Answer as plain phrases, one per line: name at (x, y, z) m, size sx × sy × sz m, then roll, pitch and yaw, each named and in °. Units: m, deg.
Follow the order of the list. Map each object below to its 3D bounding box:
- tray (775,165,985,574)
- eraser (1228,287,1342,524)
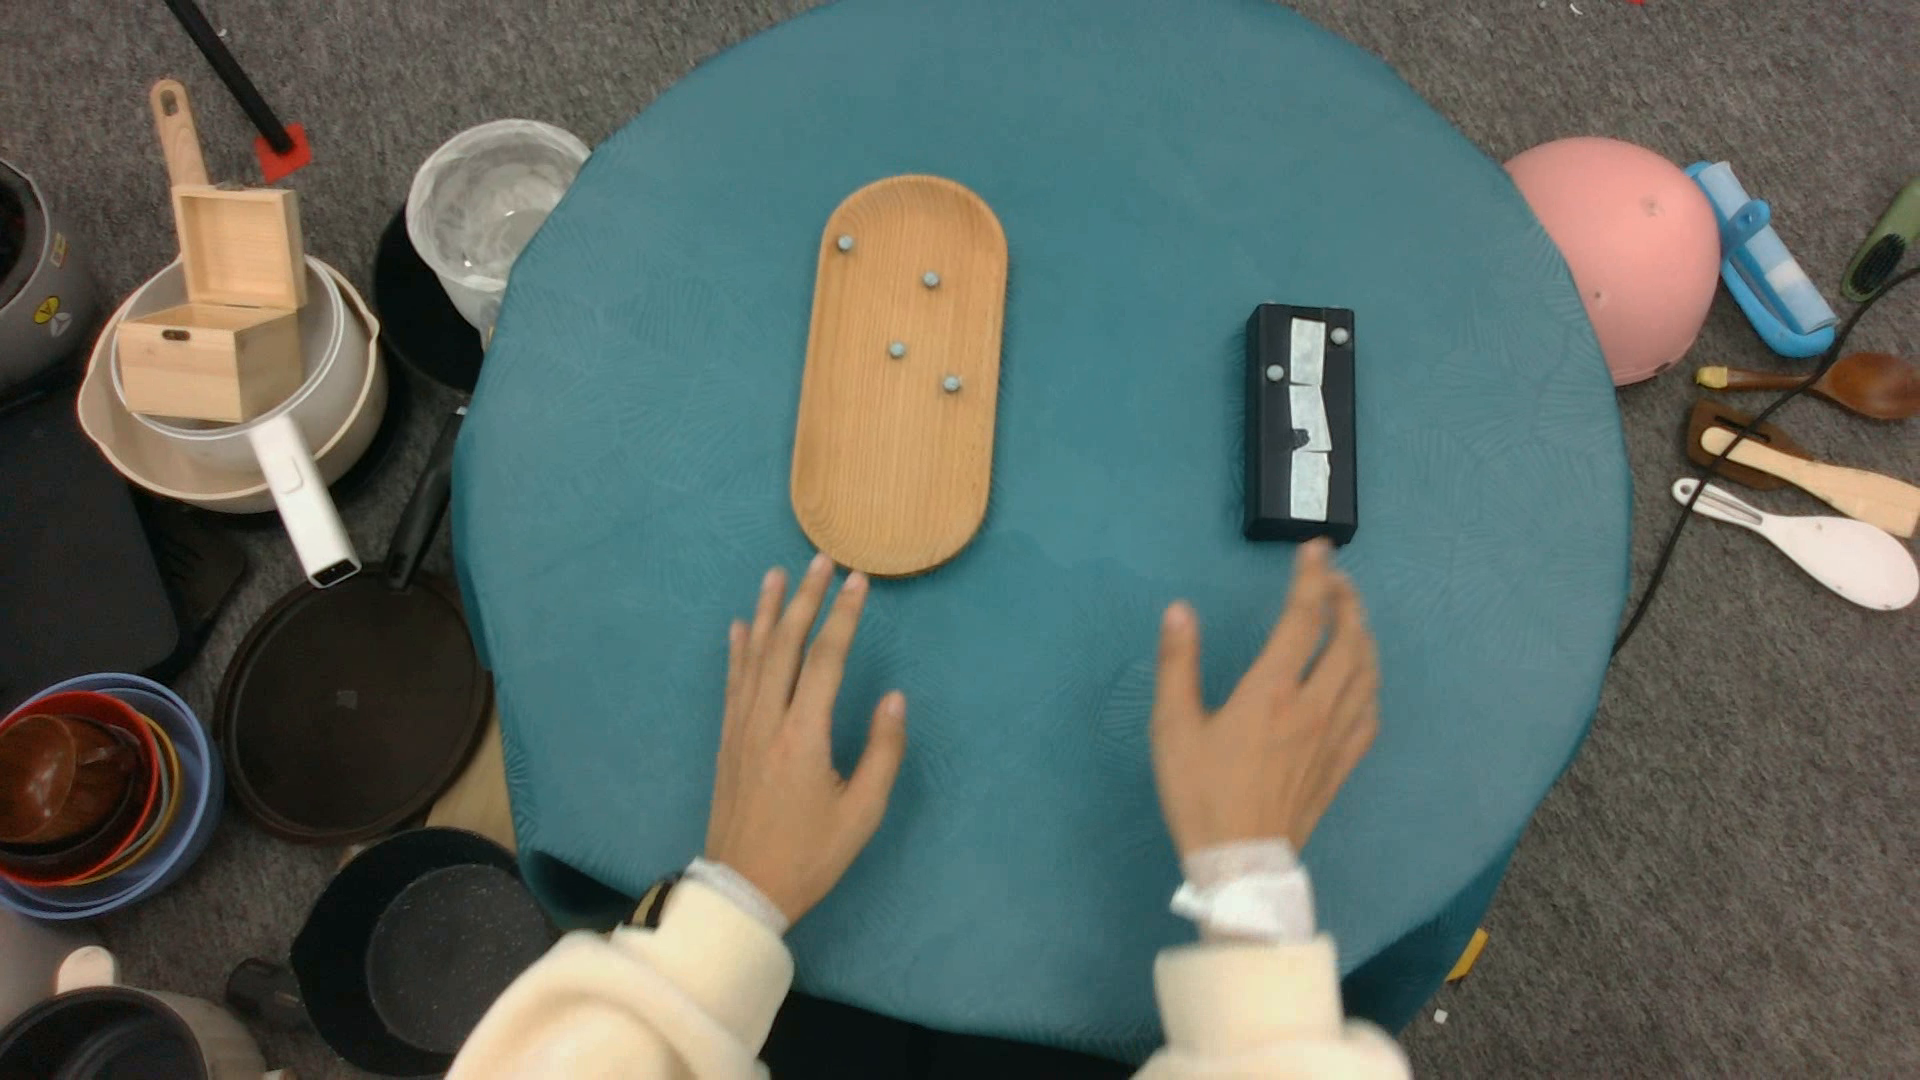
tray at (-0.040, -0.092, 0.714) m, size 0.102 × 0.020 × 0.232 m, roll 2°, pitch 72°, yaw 0°
eraser at (0.164, -0.070, 0.706) m, size 0.053 × 0.030 × 0.126 m, roll 1°, pitch 69°, yaw 5°
